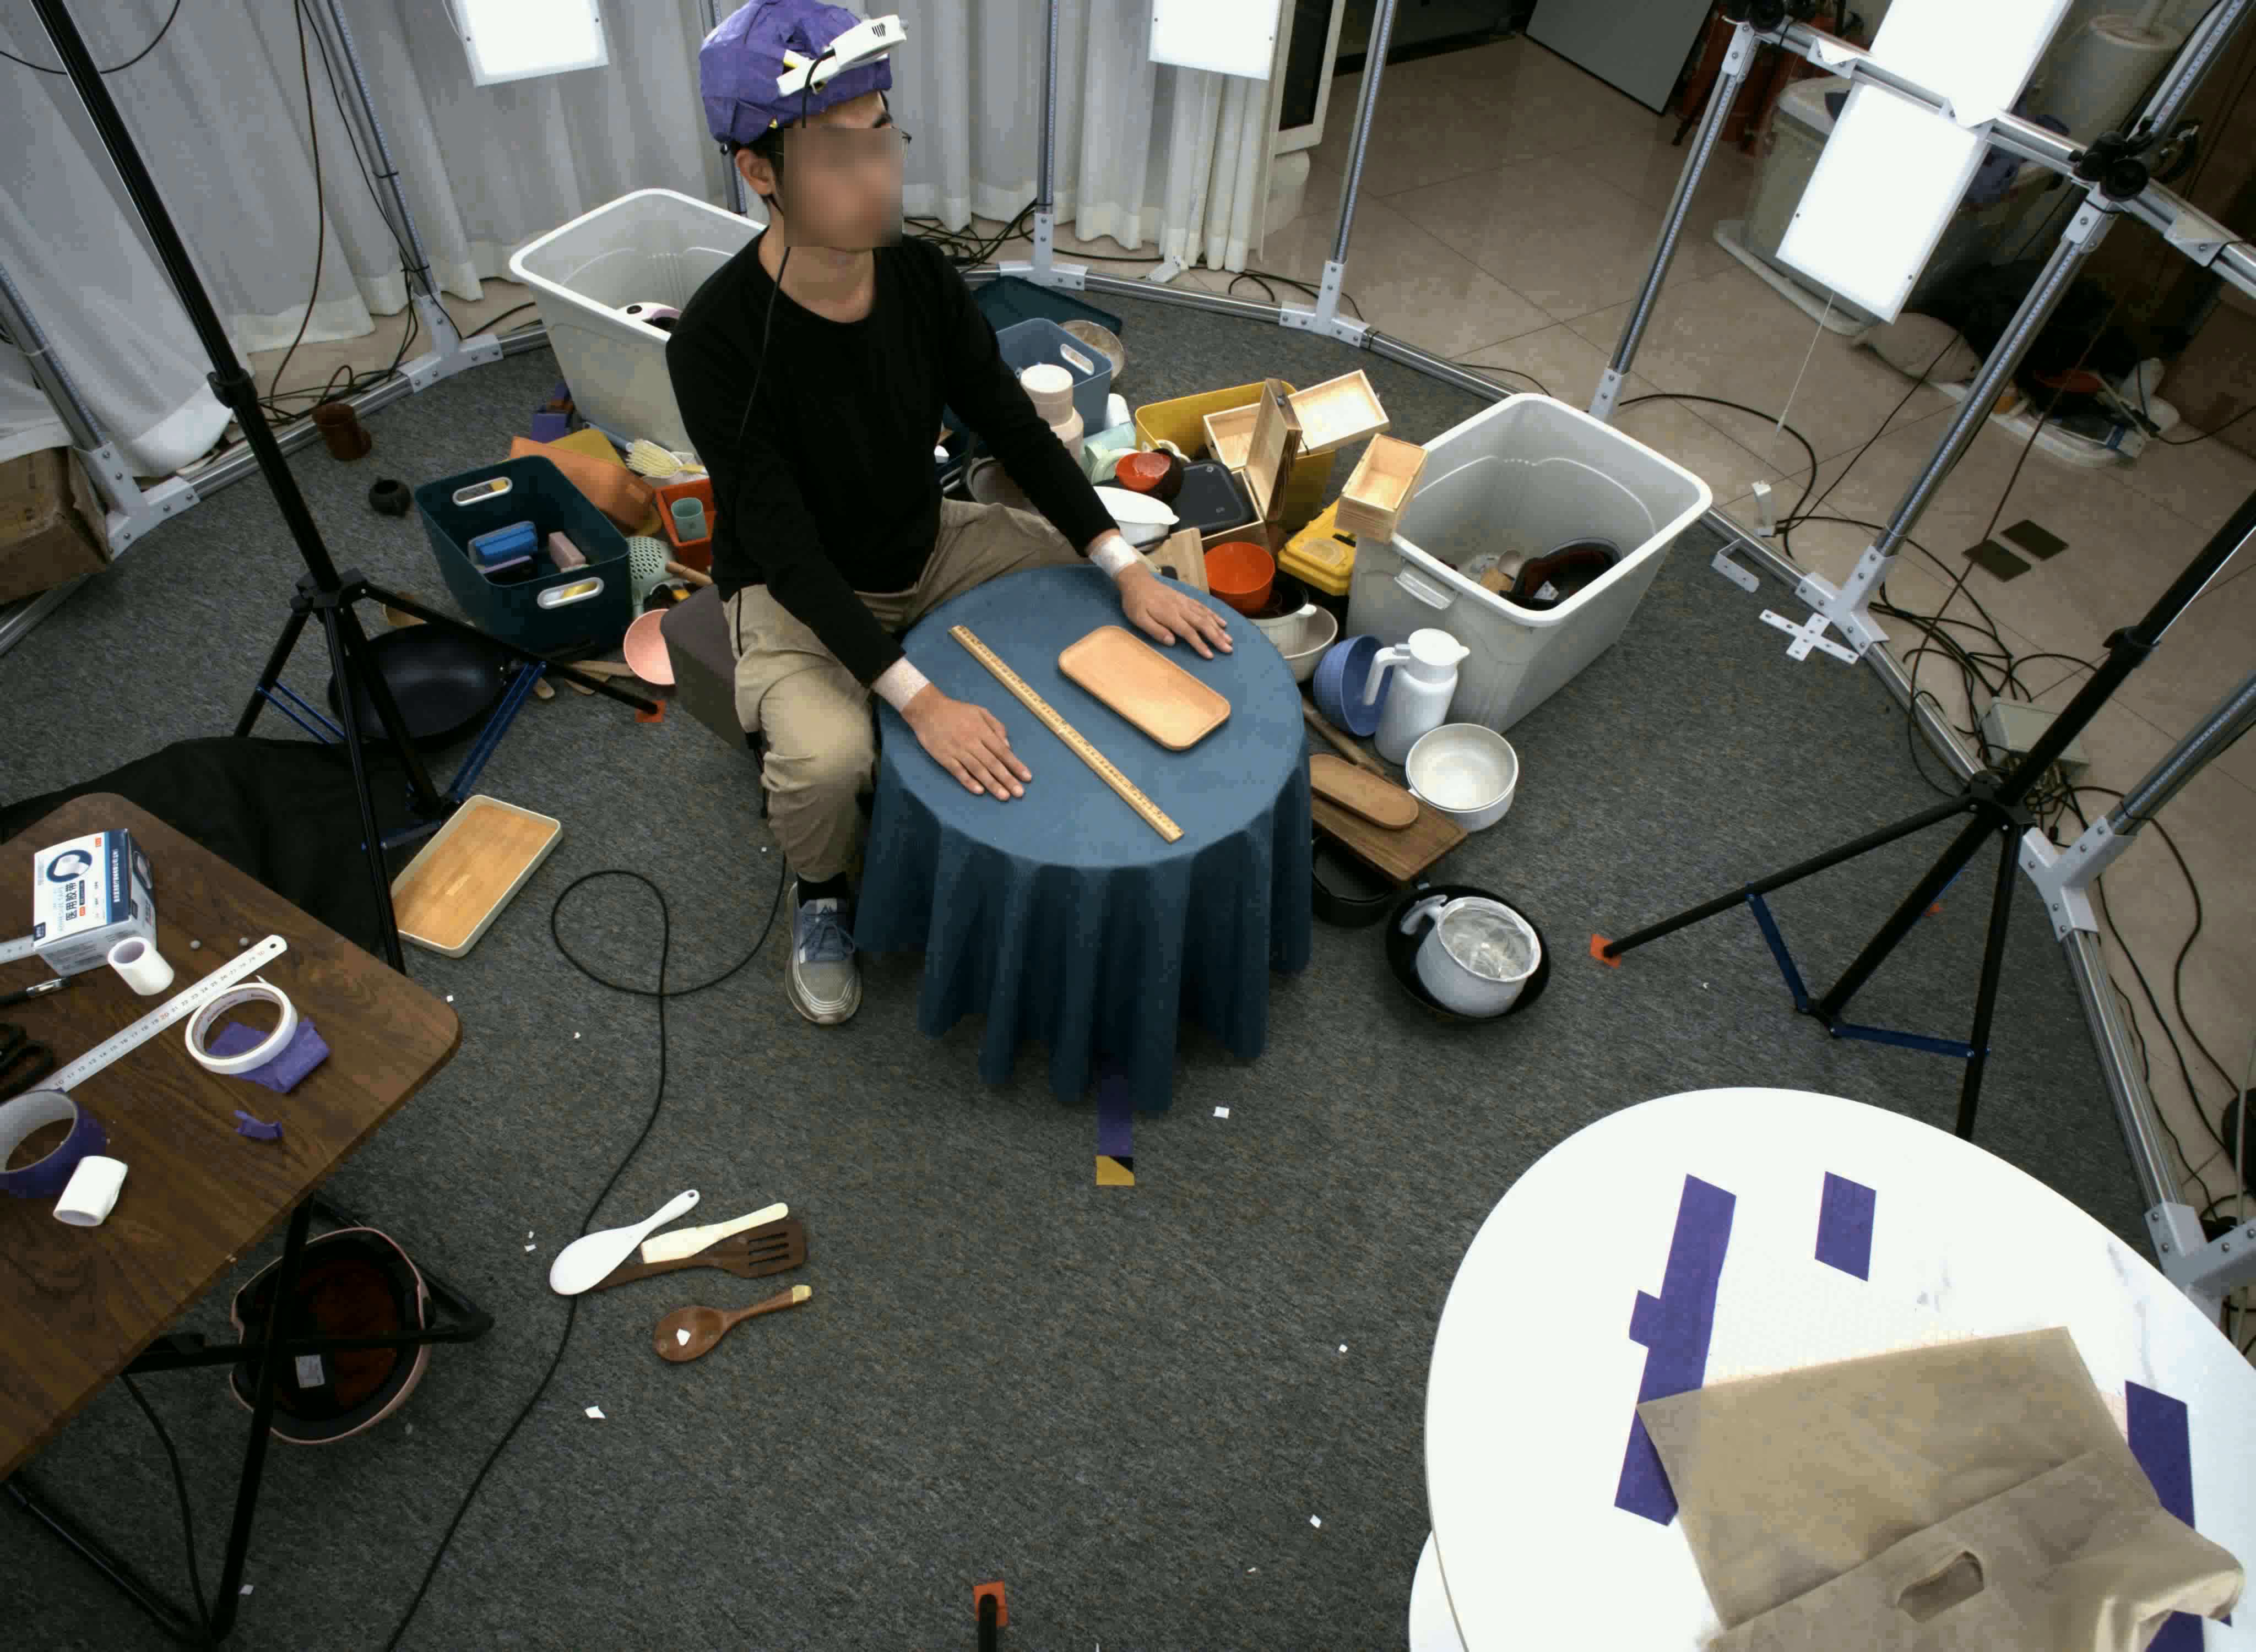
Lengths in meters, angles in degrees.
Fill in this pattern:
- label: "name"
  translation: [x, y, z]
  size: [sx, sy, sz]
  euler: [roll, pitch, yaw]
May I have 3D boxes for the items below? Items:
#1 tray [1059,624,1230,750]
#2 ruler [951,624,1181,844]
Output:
- label: "tray"
  translation: [0.022, -0.201, 1.835]
  size: [0.132, 0.022, 0.254]
  euler: [-34, 58, -31]
- label: "ruler"
  translation: [-0.095, -0.139, 1.781]
  size: [0.027, 0.006, 0.509]
  euler: [-28, 56, -27]
